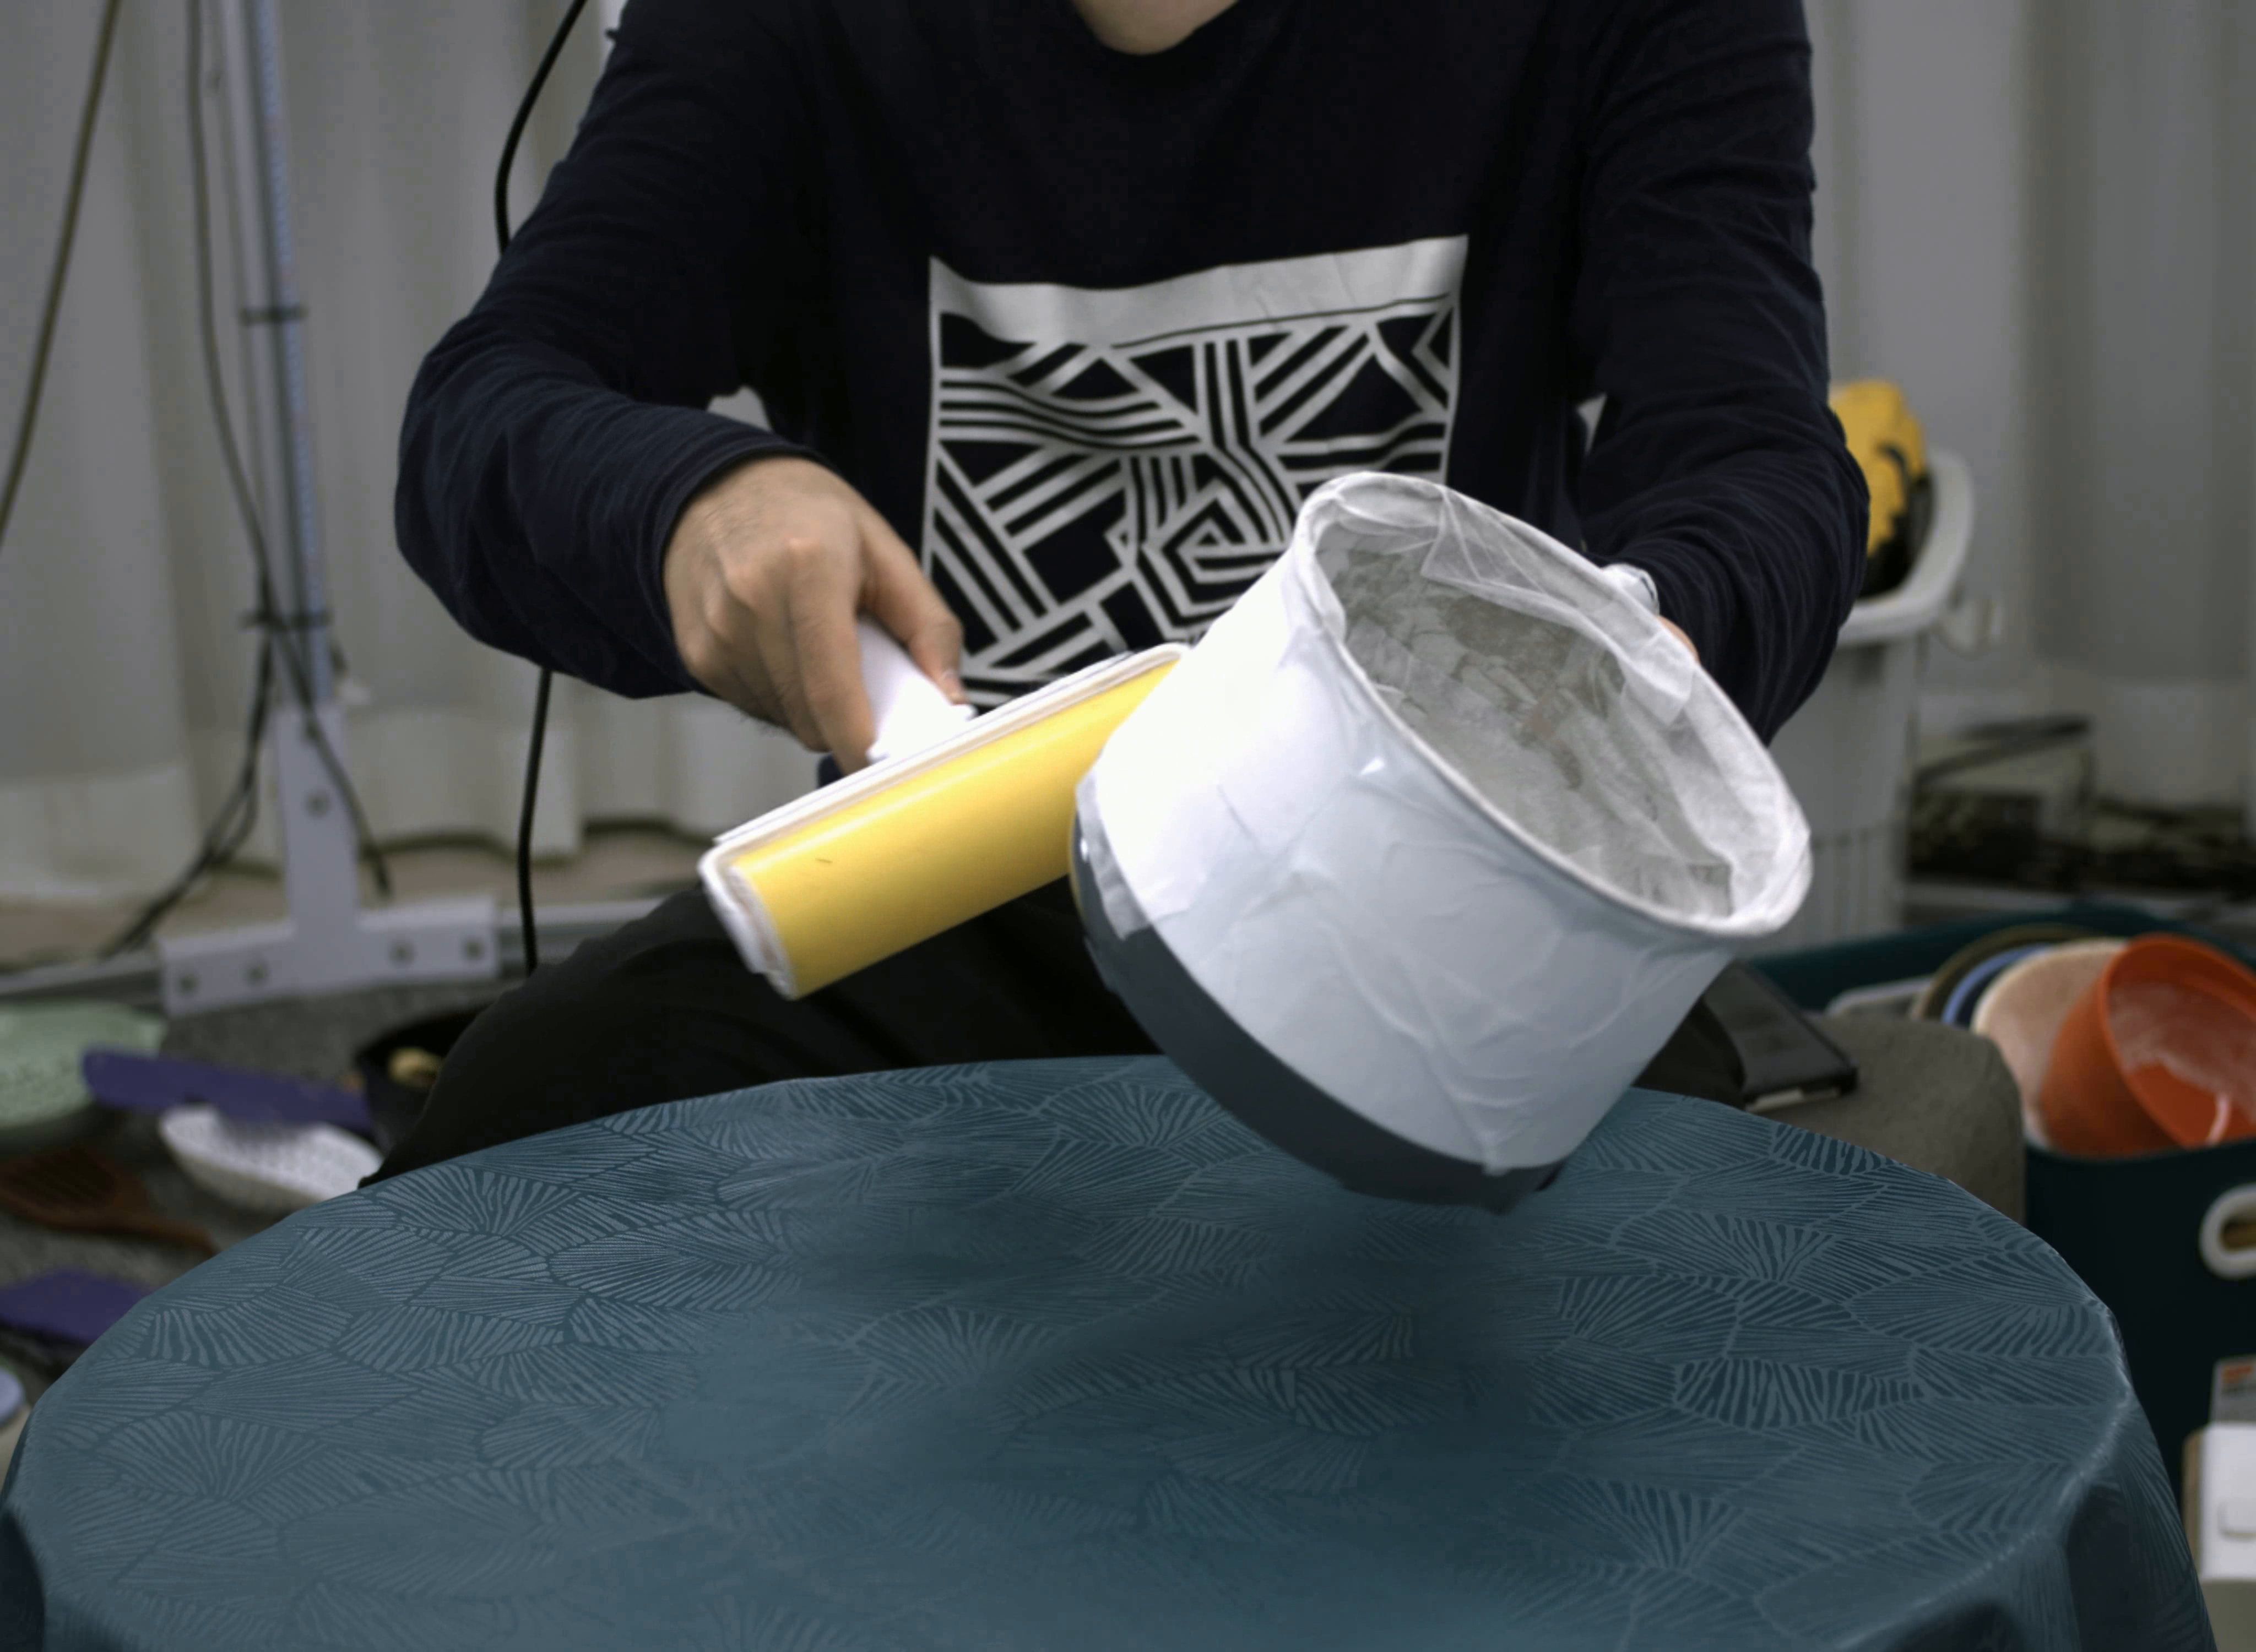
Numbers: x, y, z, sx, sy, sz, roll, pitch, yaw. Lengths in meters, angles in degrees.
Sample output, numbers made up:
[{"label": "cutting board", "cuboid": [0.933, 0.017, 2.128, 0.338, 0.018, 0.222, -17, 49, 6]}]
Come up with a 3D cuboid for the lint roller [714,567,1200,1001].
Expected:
[{"label": "lint roller", "cuboid": [-0.072, -0.040, 1.734, 0.174, 0.051, 0.195, -26, 46, -15]}]

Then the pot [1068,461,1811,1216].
[{"label": "pot", "cuboid": [0.090, -0.004, 1.555, 0.178, 0.136, 0.235, 42, 28, -2]}]
